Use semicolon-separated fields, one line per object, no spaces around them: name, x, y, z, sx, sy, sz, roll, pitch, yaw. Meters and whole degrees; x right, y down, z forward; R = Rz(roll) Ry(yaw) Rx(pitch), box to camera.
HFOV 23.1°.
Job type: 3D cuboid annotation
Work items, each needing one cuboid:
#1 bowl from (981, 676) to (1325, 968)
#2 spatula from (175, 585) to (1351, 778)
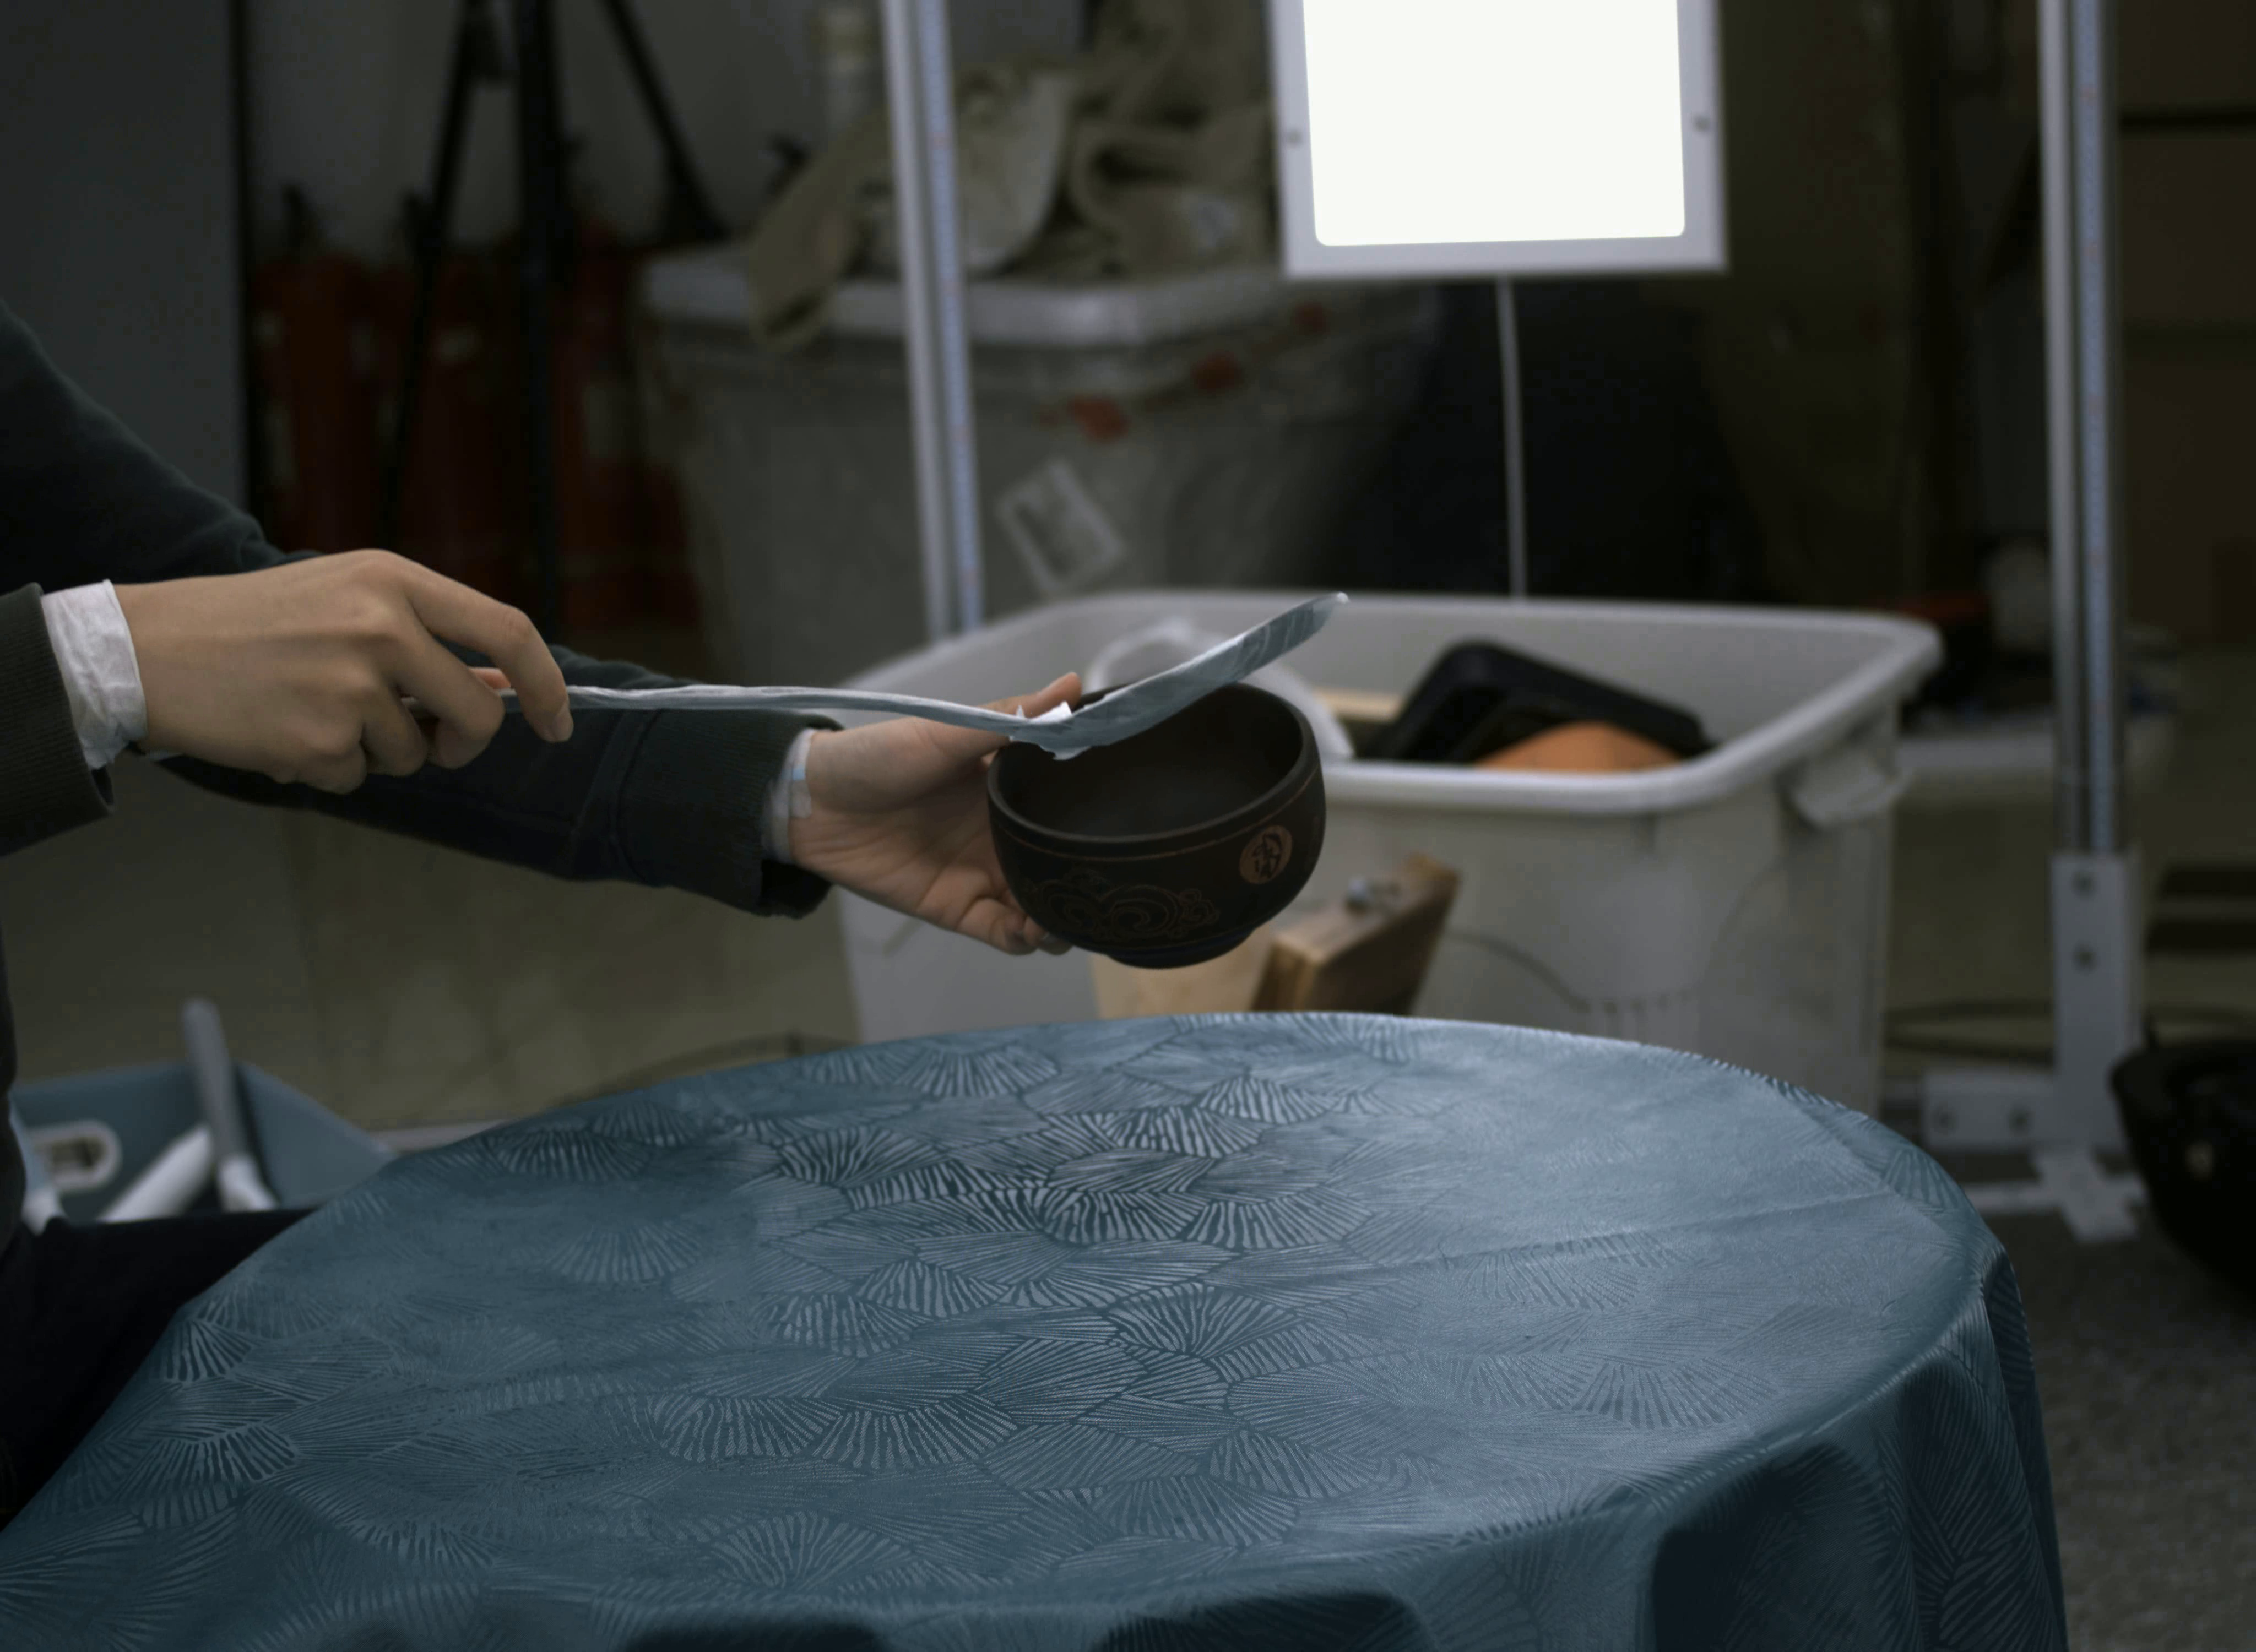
bowl;0.012;0.005;1.891;0.118;0.070;0.118;-10;27;4
spatula;-0.108;-0.042;1.683;0.360;0.045;0.100;-2;-7;-12
